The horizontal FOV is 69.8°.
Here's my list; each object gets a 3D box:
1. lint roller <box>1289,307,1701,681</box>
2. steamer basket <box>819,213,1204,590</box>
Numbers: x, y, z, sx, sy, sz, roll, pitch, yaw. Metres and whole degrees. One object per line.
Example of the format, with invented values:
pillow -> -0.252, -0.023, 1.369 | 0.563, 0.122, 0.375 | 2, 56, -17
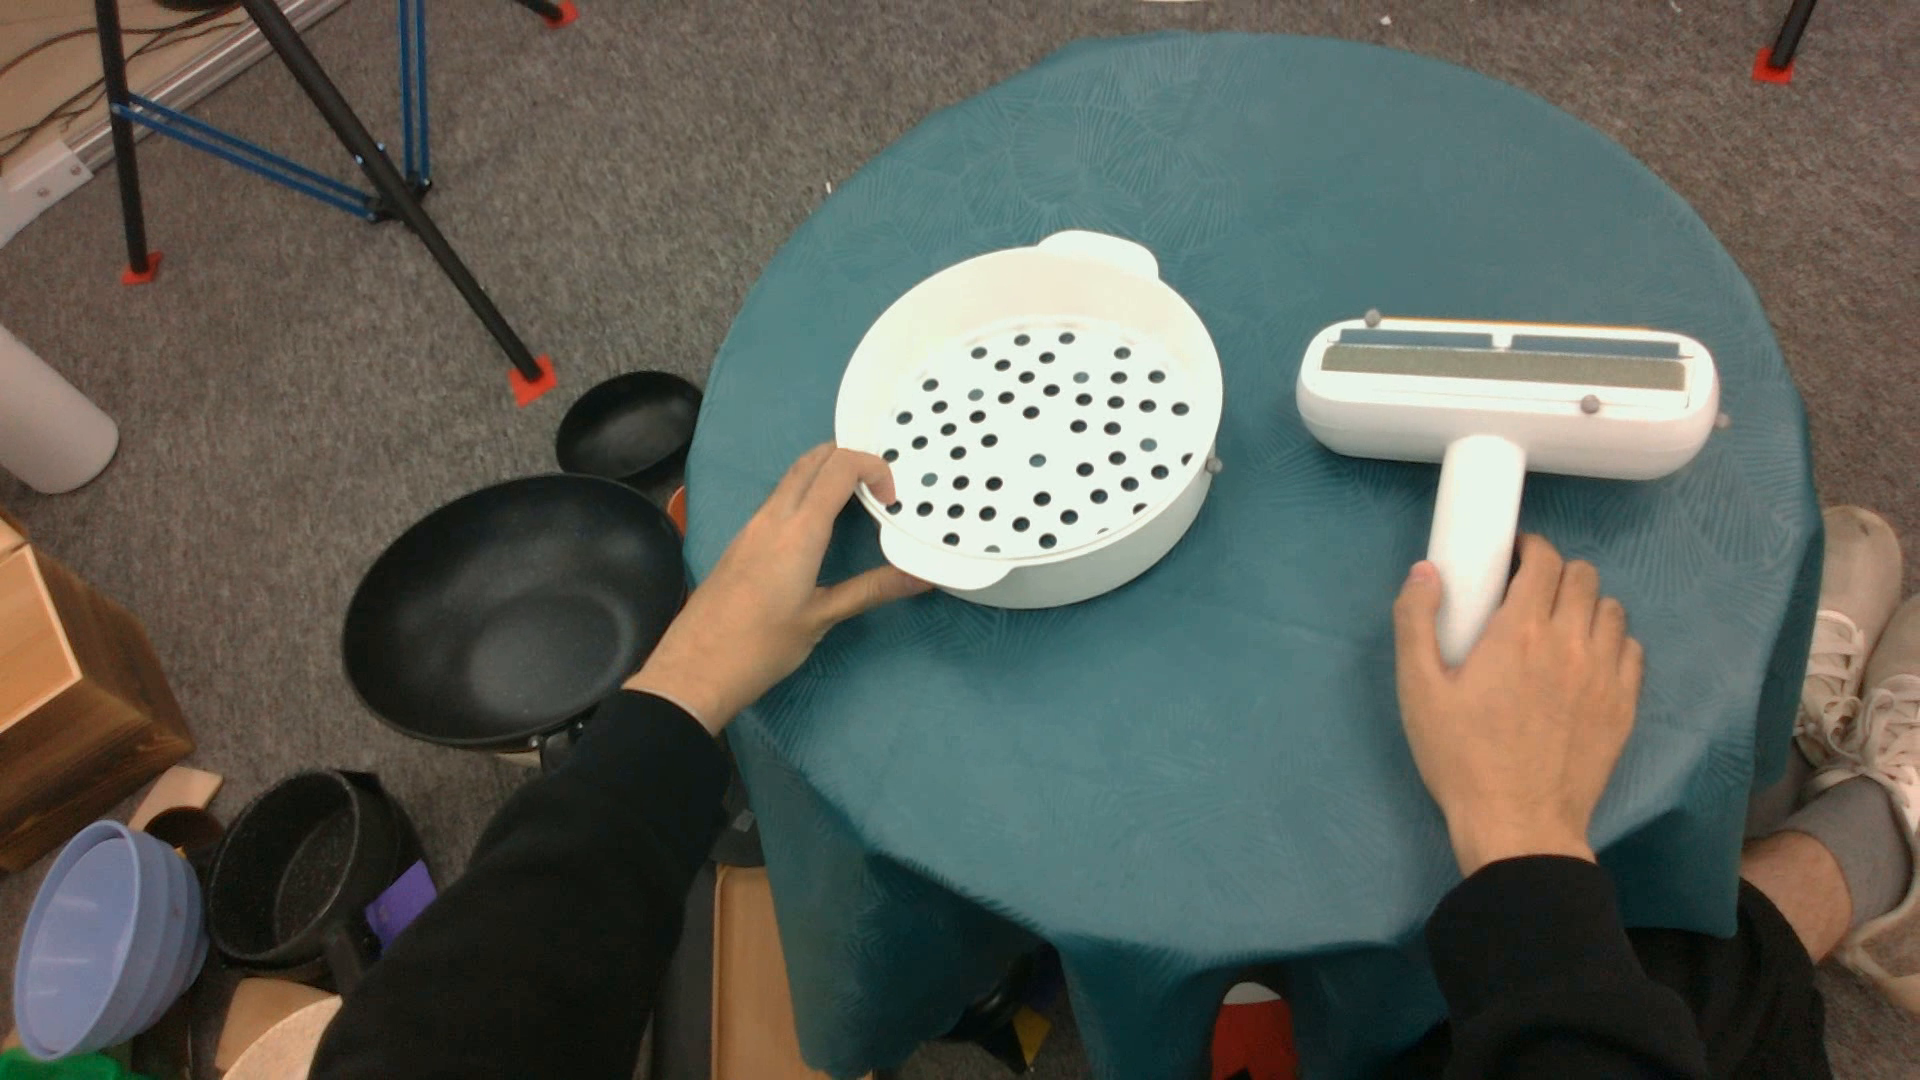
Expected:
lint roller -> 0.244, -0.025, 0.674 | 0.192, 0.074, 0.193 | 13, 63, 22
steamer basket -> 0.029, -0.069, 0.738 | 0.202, 0.069, 0.231 | 18, 66, 20
